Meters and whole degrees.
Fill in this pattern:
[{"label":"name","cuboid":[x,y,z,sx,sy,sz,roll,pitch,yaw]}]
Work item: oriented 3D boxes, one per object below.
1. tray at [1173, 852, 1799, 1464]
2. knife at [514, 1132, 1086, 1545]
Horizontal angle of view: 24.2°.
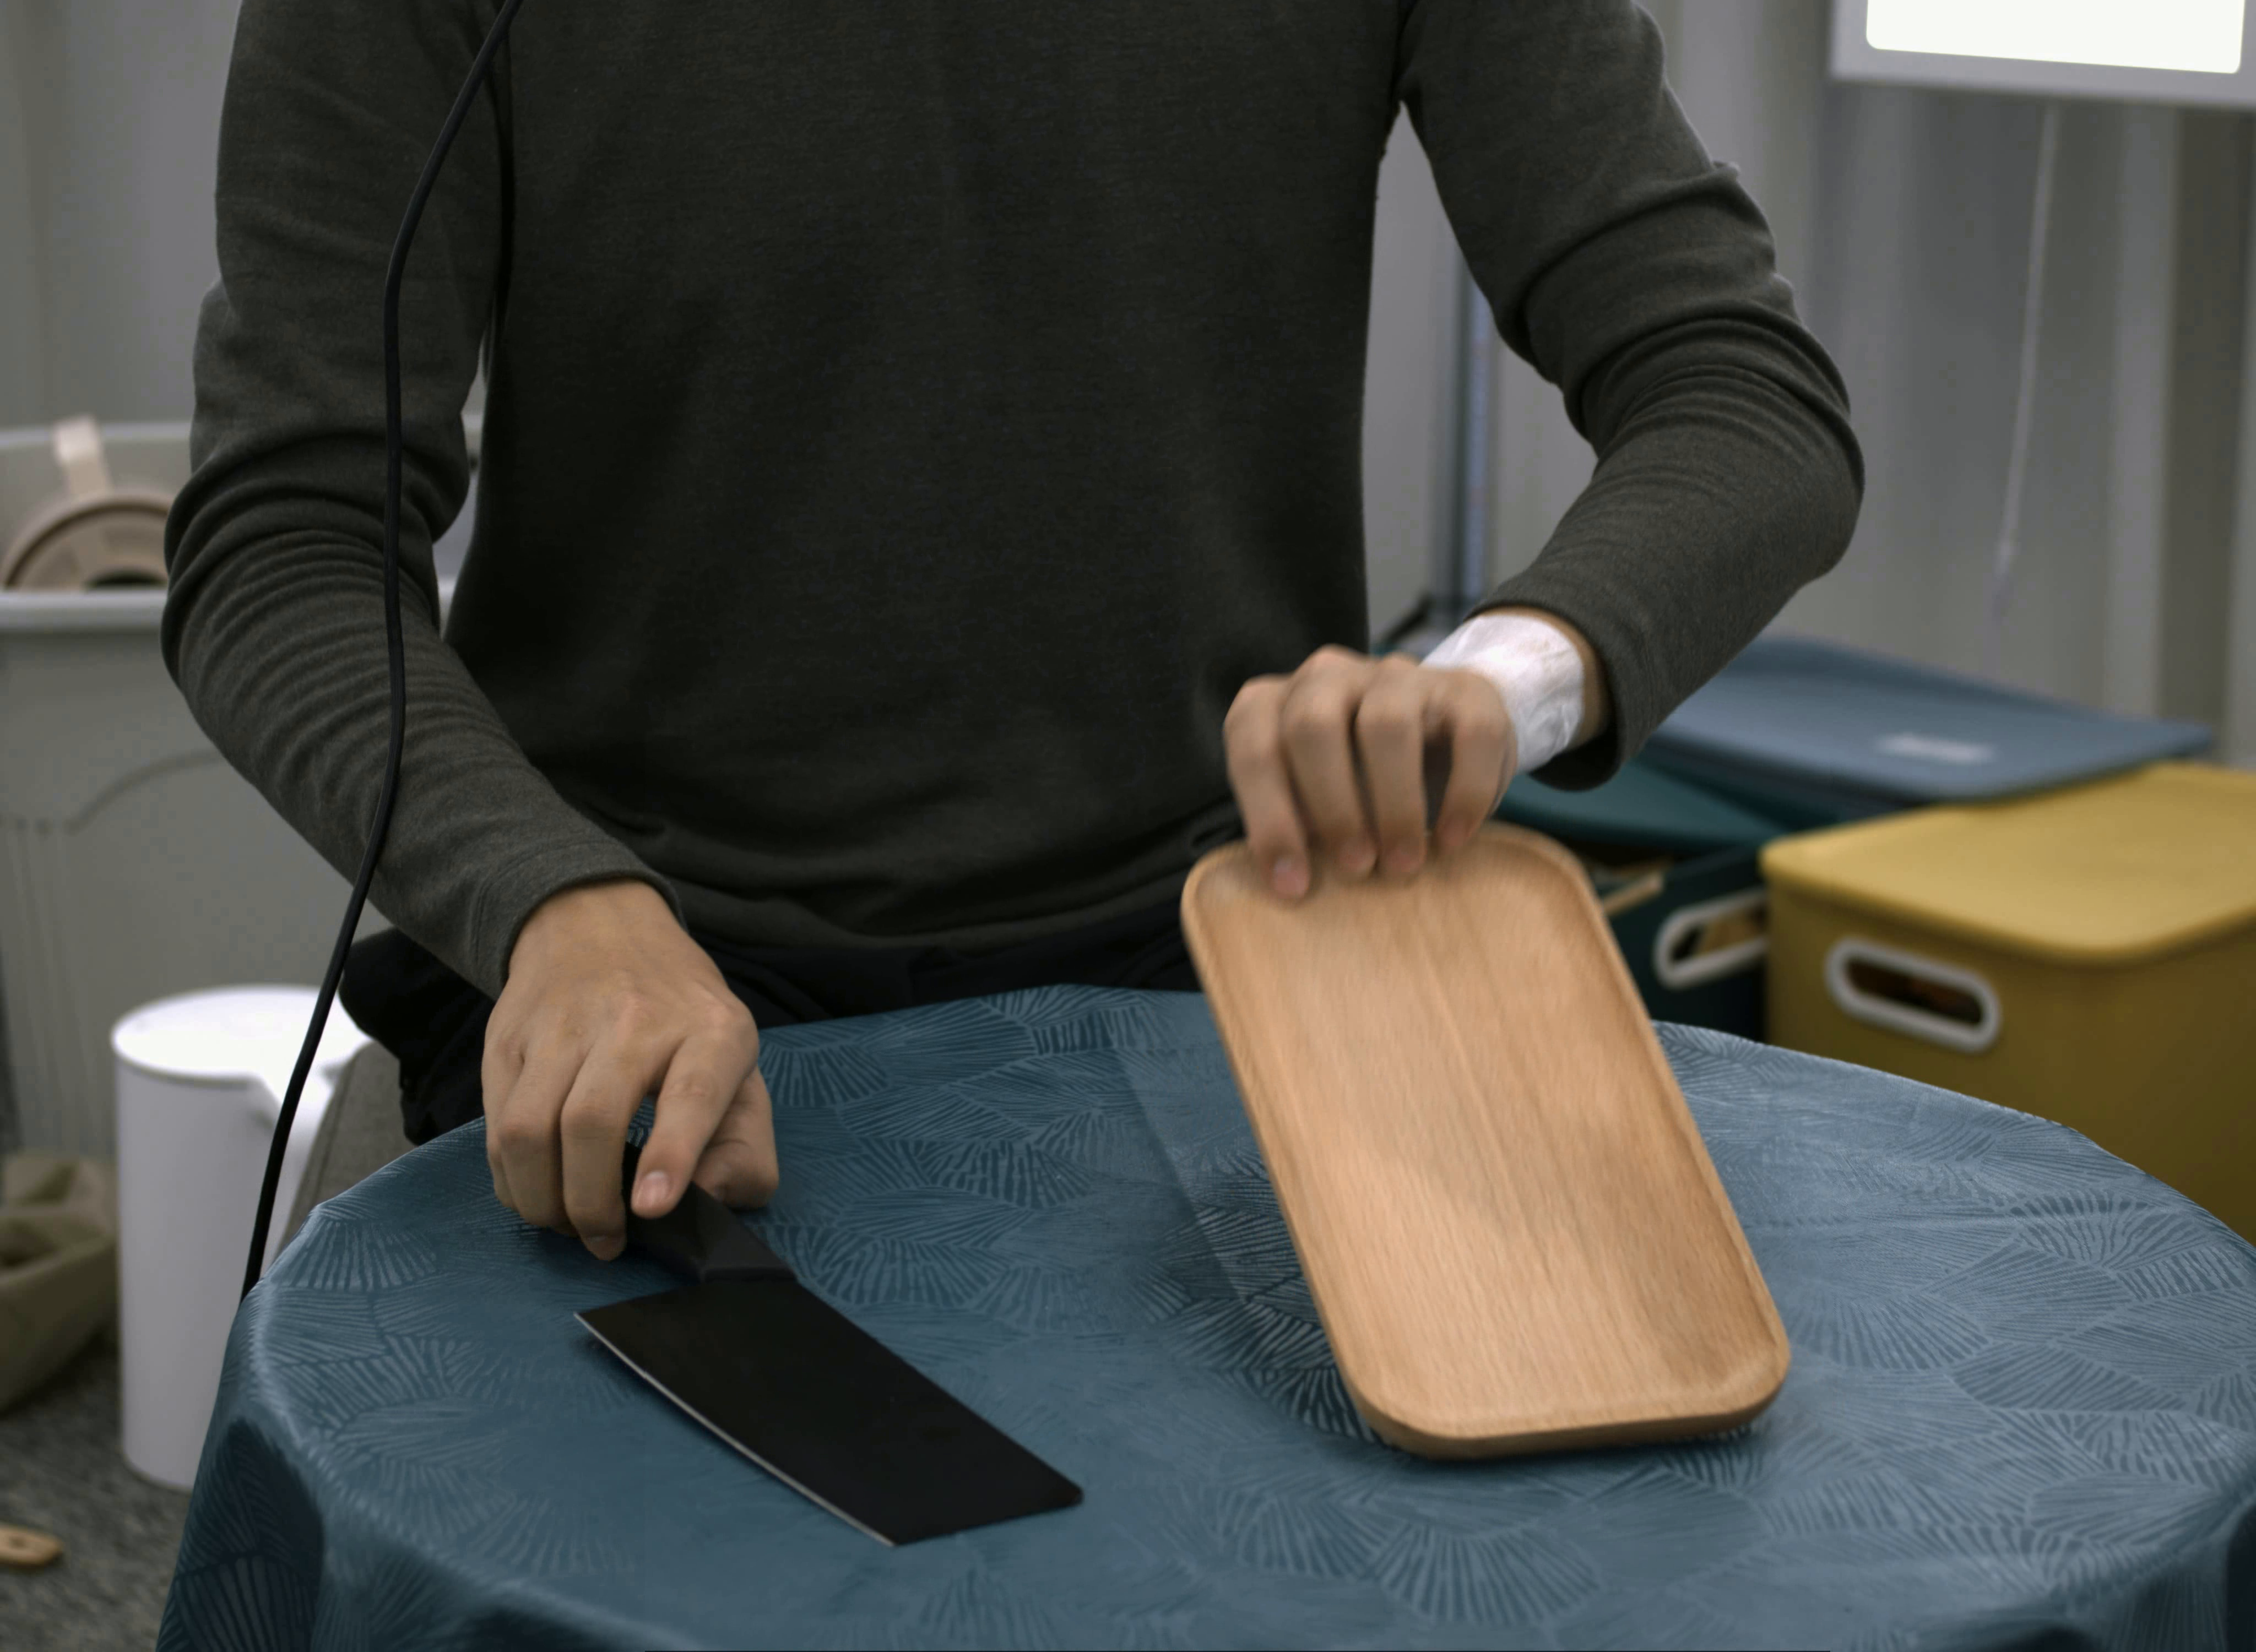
[{"label":"tray","cuboid":[0.098,0.091,1.507,0.131,0.023,0.247,-1,37,-16]},{"label":"knife","cuboid":[-0.109,0.142,1.487,0.081,0.021,0.298,-9,20,-25]}]
